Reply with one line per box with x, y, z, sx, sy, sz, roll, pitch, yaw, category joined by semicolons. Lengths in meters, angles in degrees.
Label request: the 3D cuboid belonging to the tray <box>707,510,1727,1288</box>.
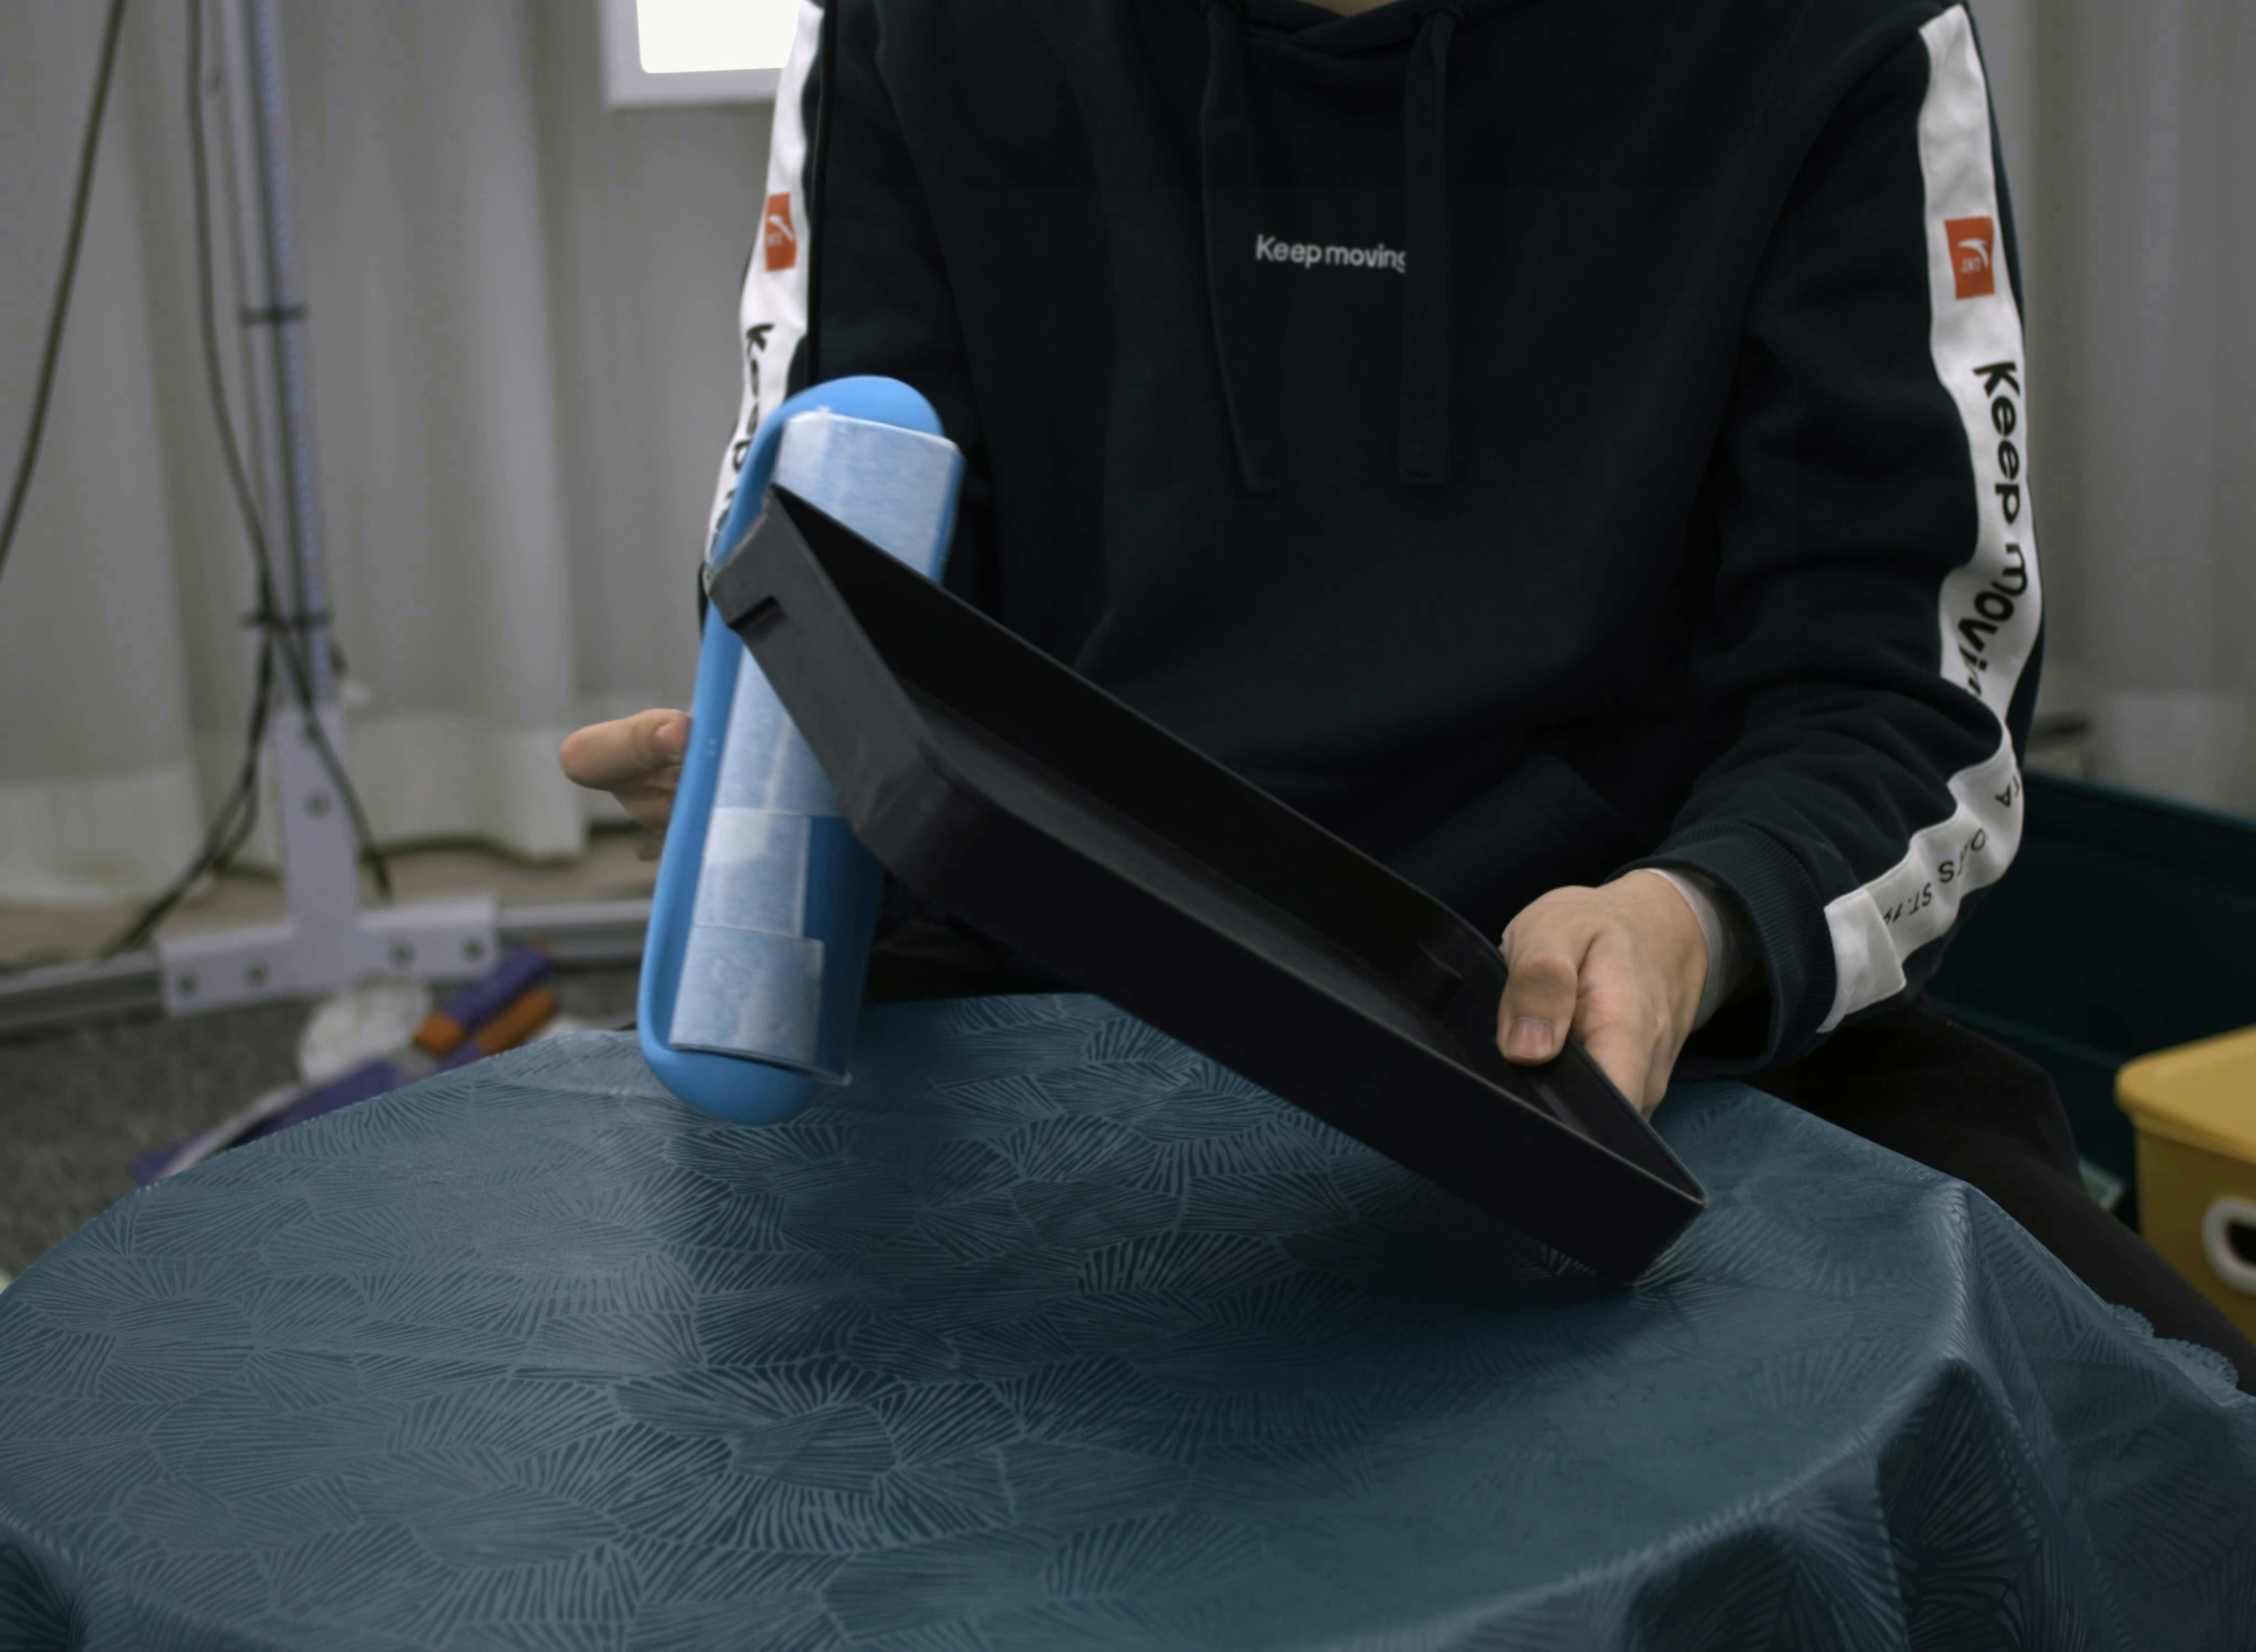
0.027;0.024;1.585;0.314;0.037;0.187;29;13;-35;tray

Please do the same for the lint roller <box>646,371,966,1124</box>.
-0.105;-0.016;1.687;0.067;0.231;0.180;11;-11;-11;lint roller
